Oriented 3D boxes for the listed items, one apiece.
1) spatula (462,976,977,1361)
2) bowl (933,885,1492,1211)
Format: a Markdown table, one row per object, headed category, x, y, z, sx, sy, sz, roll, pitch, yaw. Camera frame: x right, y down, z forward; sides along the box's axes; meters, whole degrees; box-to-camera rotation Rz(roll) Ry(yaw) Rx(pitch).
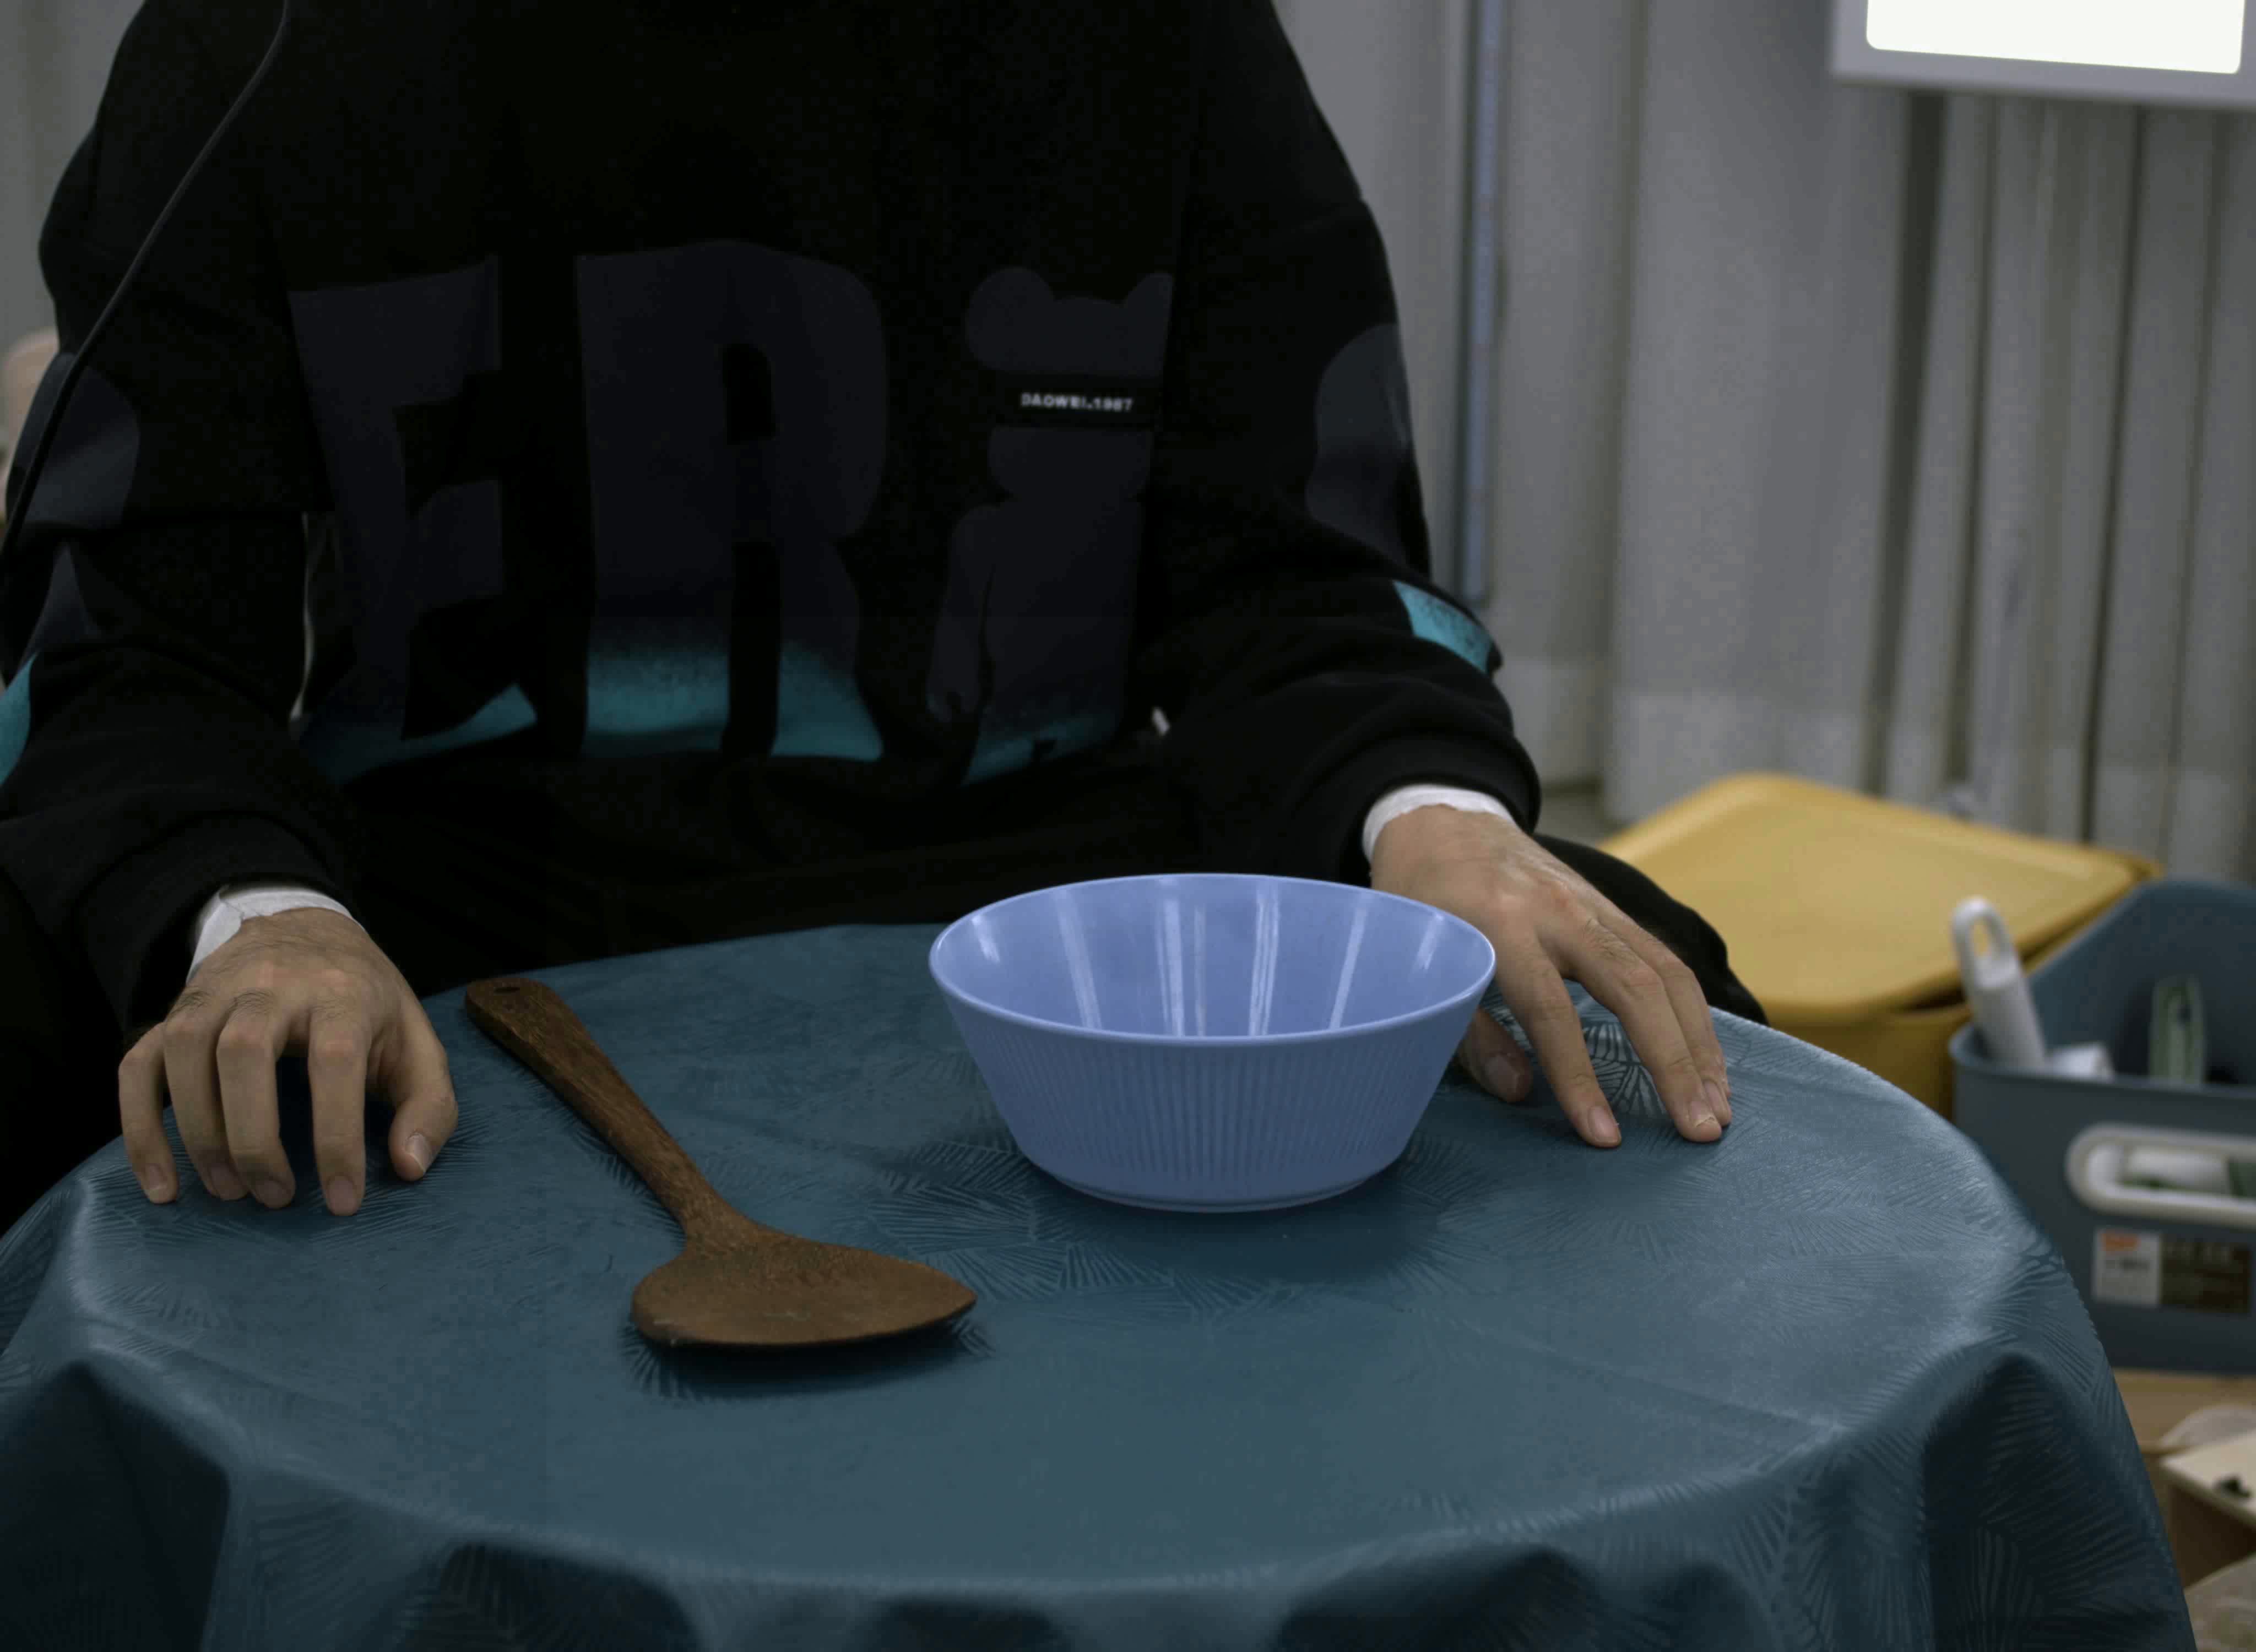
| category | x | y | z | sx | sy | sz | roll | pitch | yaw |
| --- | --- | --- | --- | --- | --- | --- | --- | --- | --- |
| spatula | -0.149 | 0.100 | 1.639 | 0.096 | 0.016 | 0.381 | -5 | 17 | -21 |
| bowl | 0.026 | 0.071 | 1.646 | 0.175 | 0.071 | 0.175 | 1 | 15 | 0 |
